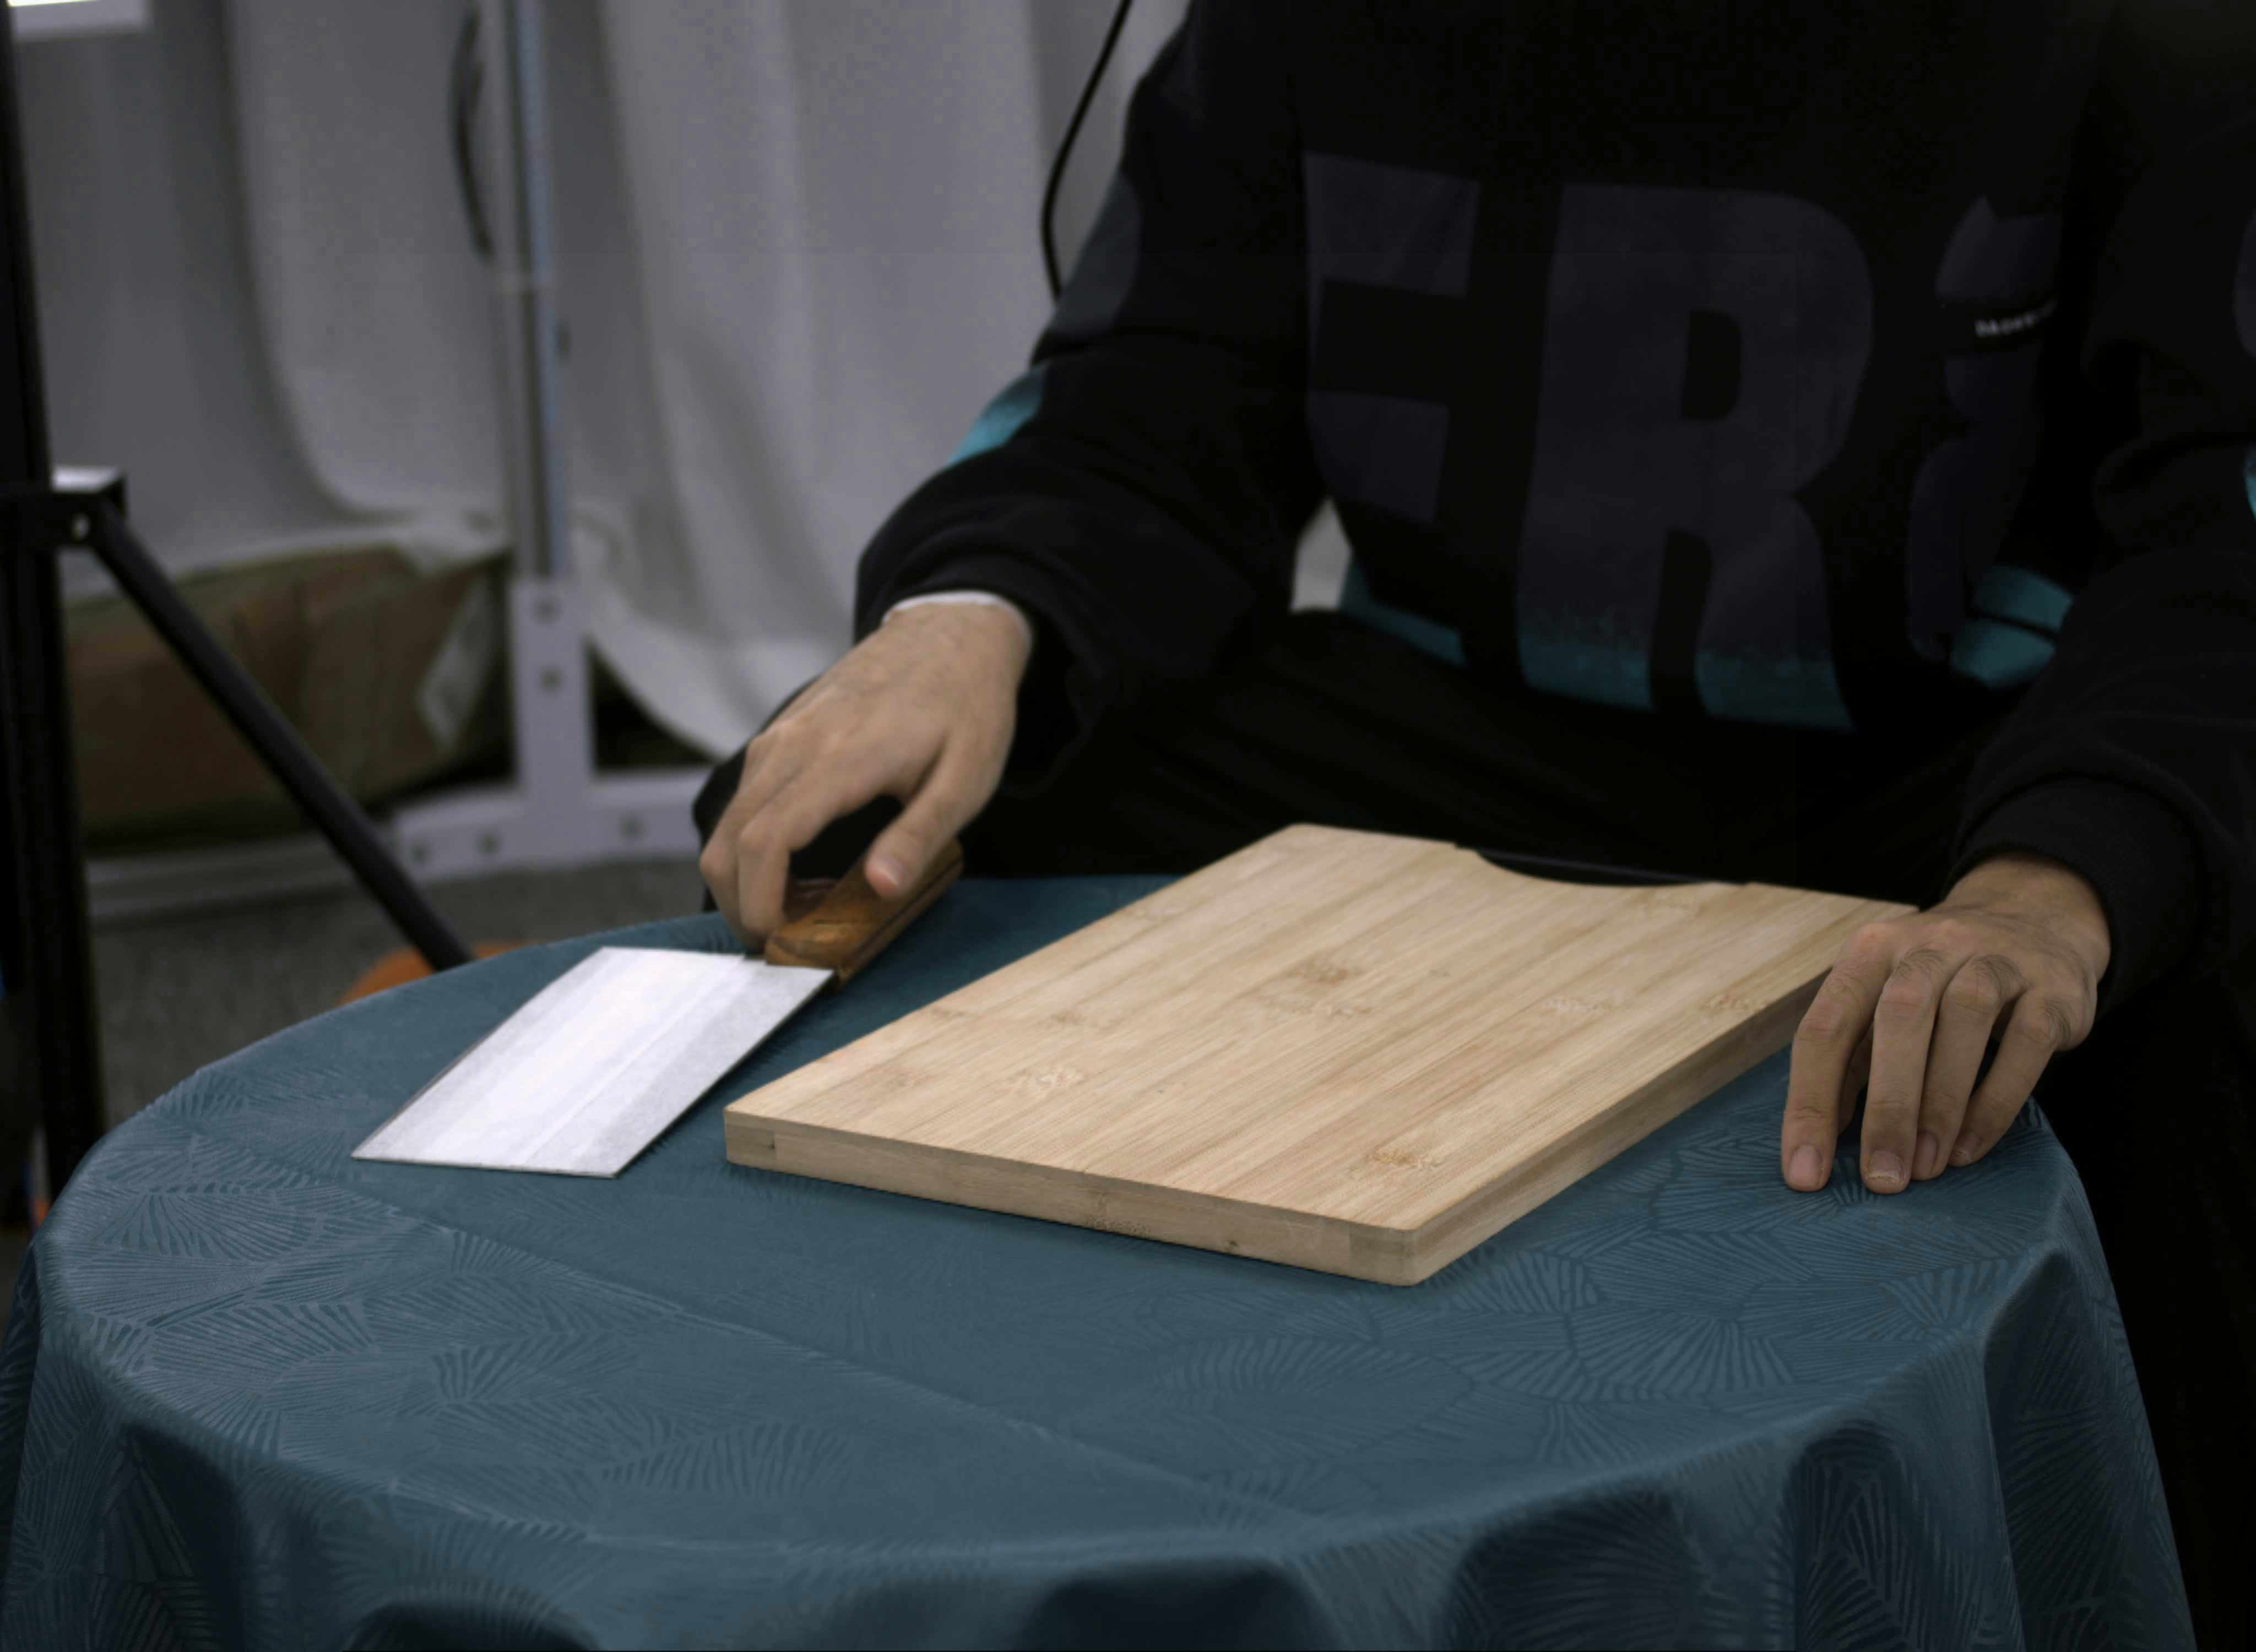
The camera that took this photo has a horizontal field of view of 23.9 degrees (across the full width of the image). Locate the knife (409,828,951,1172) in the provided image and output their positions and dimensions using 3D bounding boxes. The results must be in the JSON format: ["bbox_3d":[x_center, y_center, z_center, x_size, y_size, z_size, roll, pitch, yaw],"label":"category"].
[{"bbox_3d":[-0.145,0.055,1.741,0.094,0.021,0.302,2,19,19],"label":"knife"}]

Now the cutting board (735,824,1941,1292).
[{"bbox_3d":[0.073,0.064,1.669,0.255,0.023,0.342,7,19,32],"label":"cutting board"}]
